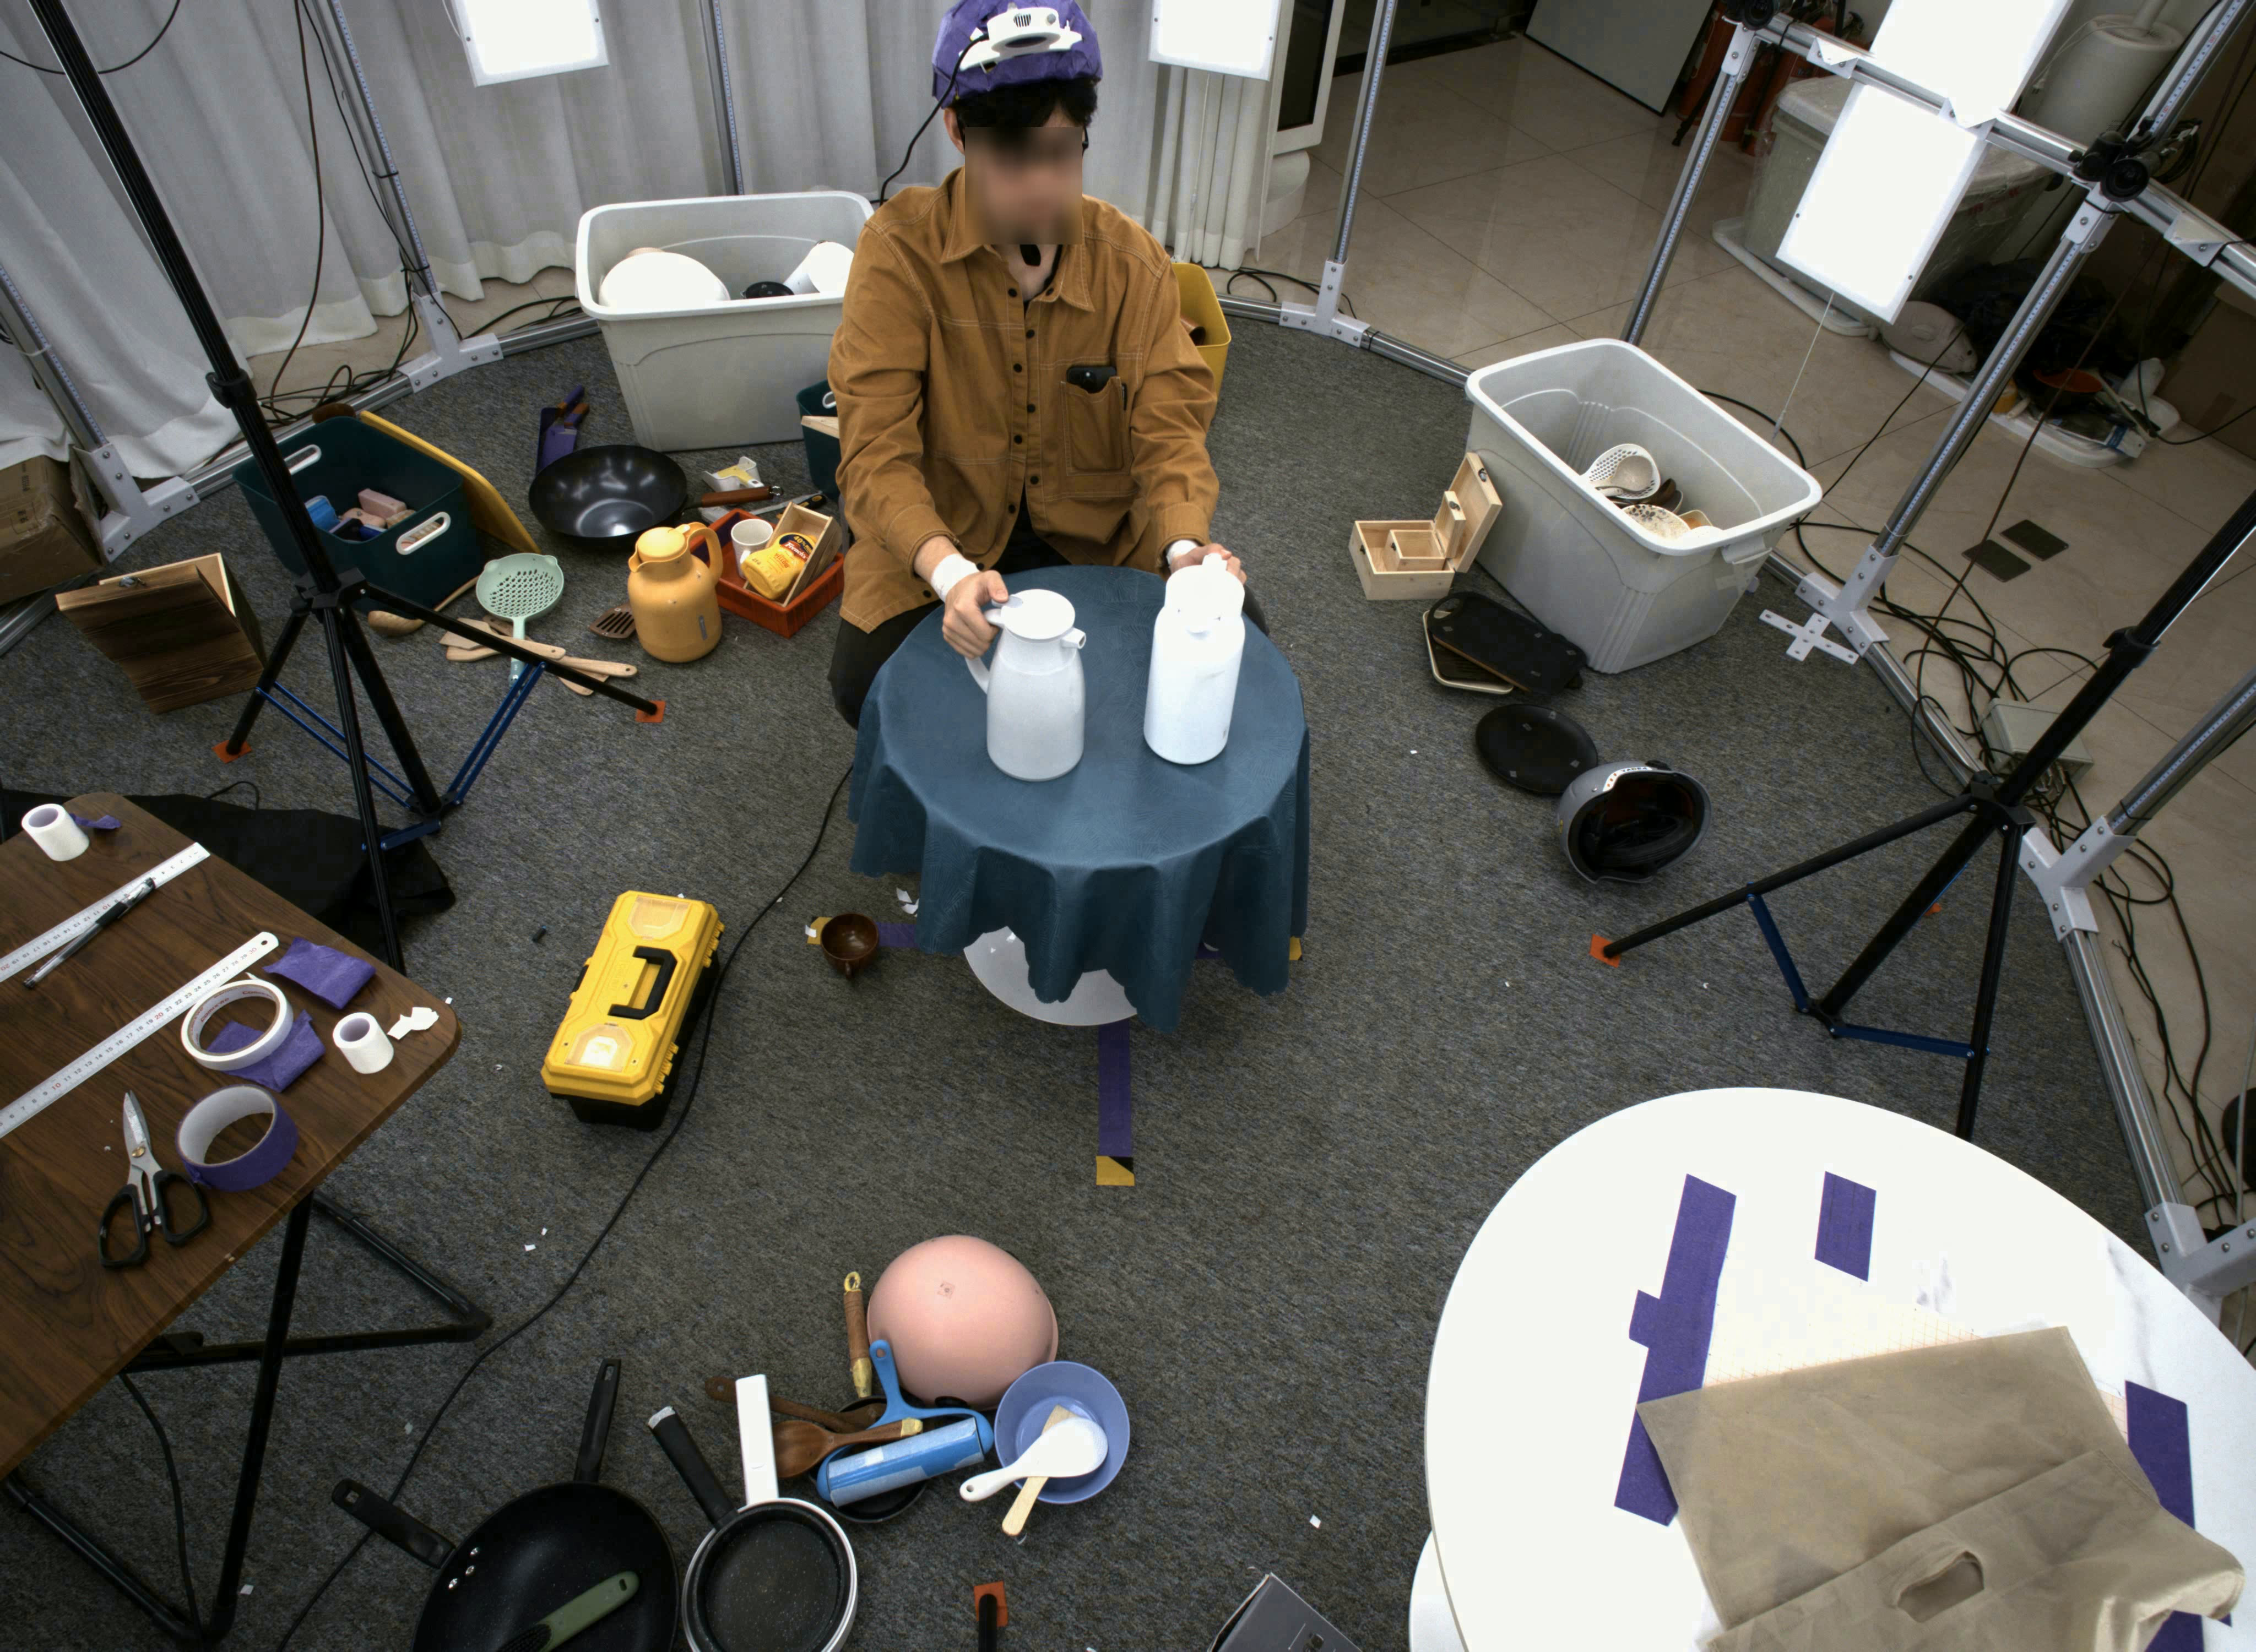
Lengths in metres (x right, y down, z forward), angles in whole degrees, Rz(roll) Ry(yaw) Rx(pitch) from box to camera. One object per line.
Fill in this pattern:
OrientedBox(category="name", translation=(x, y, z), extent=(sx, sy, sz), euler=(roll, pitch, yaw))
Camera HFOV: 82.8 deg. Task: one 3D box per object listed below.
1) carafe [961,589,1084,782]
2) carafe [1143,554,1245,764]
OrientedBox(category="carafe", translation=(-0.138, -0.193, 1.668), extent=(0.168, 0.242, 0.135), euler=(20, 51, 14))
OrientedBox(category="carafe", translation=(0.089, -0.222, 1.695), extent=(0.124, 0.262, 0.177), euler=(10, 49, 7))
